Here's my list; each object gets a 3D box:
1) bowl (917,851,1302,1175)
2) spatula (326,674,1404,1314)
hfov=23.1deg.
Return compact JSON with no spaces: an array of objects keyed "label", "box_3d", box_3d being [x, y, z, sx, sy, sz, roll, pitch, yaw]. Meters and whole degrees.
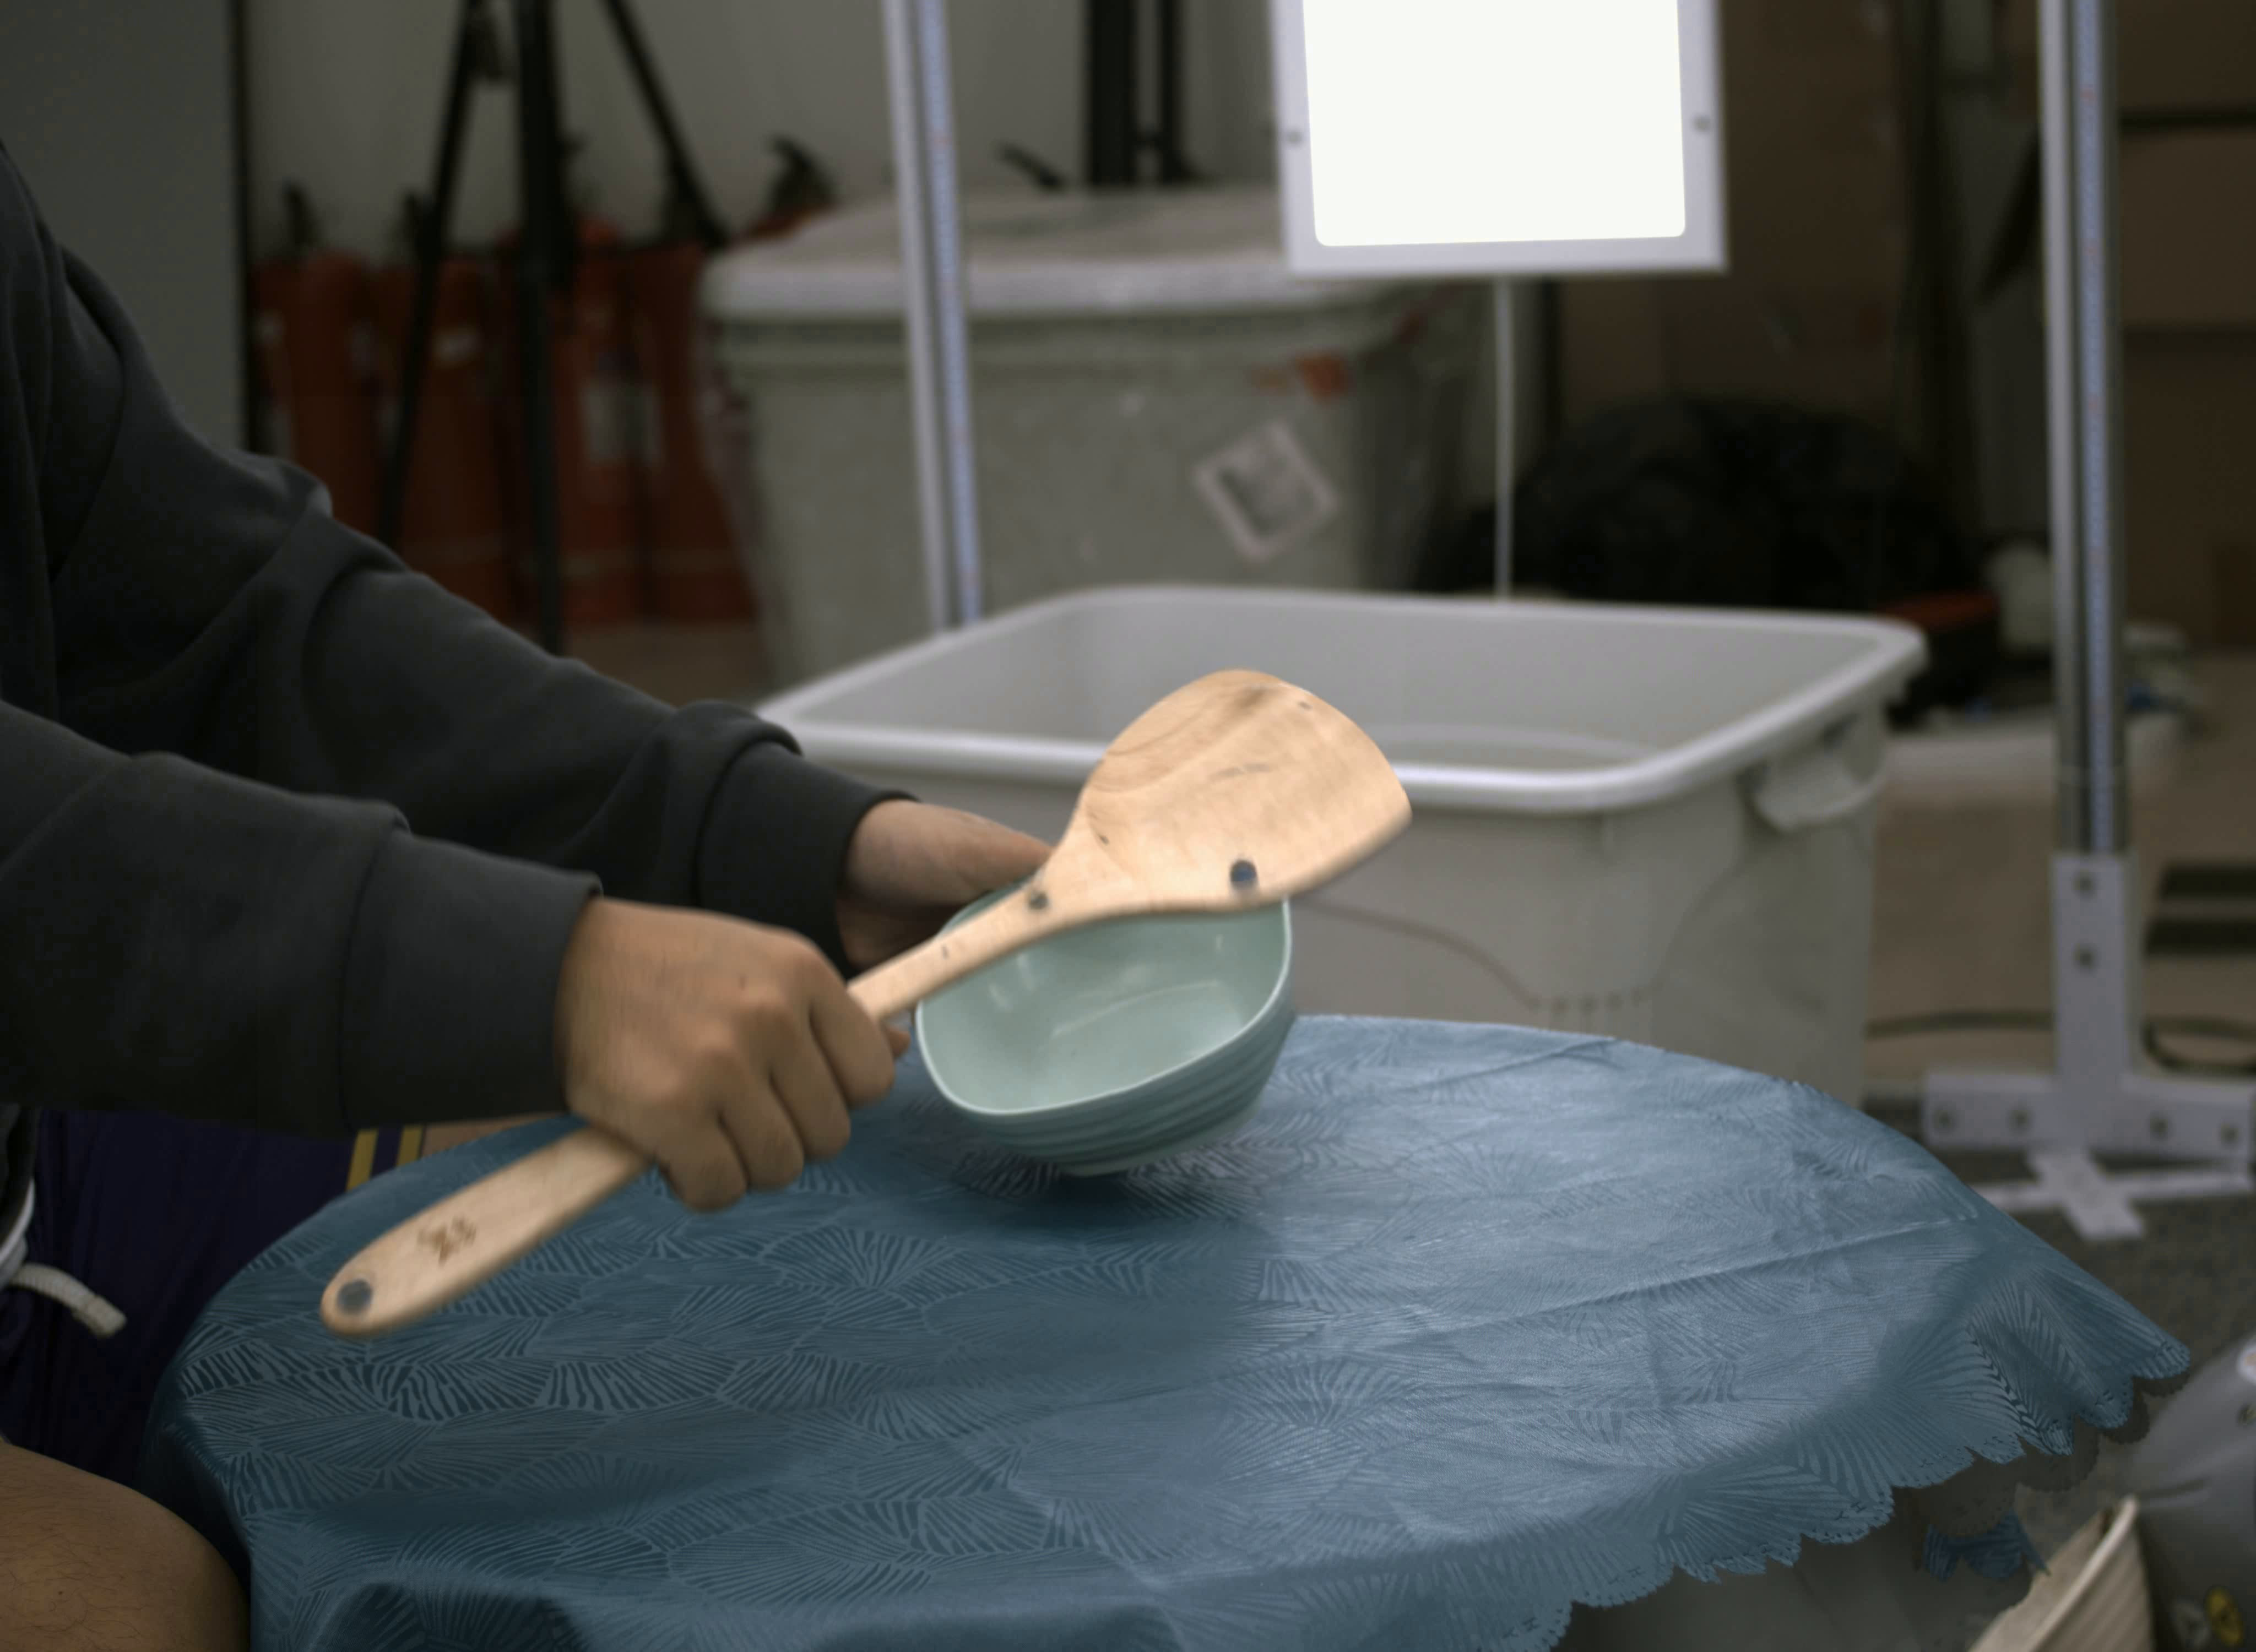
[{"label":"bowl","box_3d":[0.001,0.070,1.930,0.152,0.058,0.151,-15,37,10]},{"label":"spatula","box_3d":[-0.079,0.053,1.689,0.383,0.018,0.097,-29,41,-27]}]
